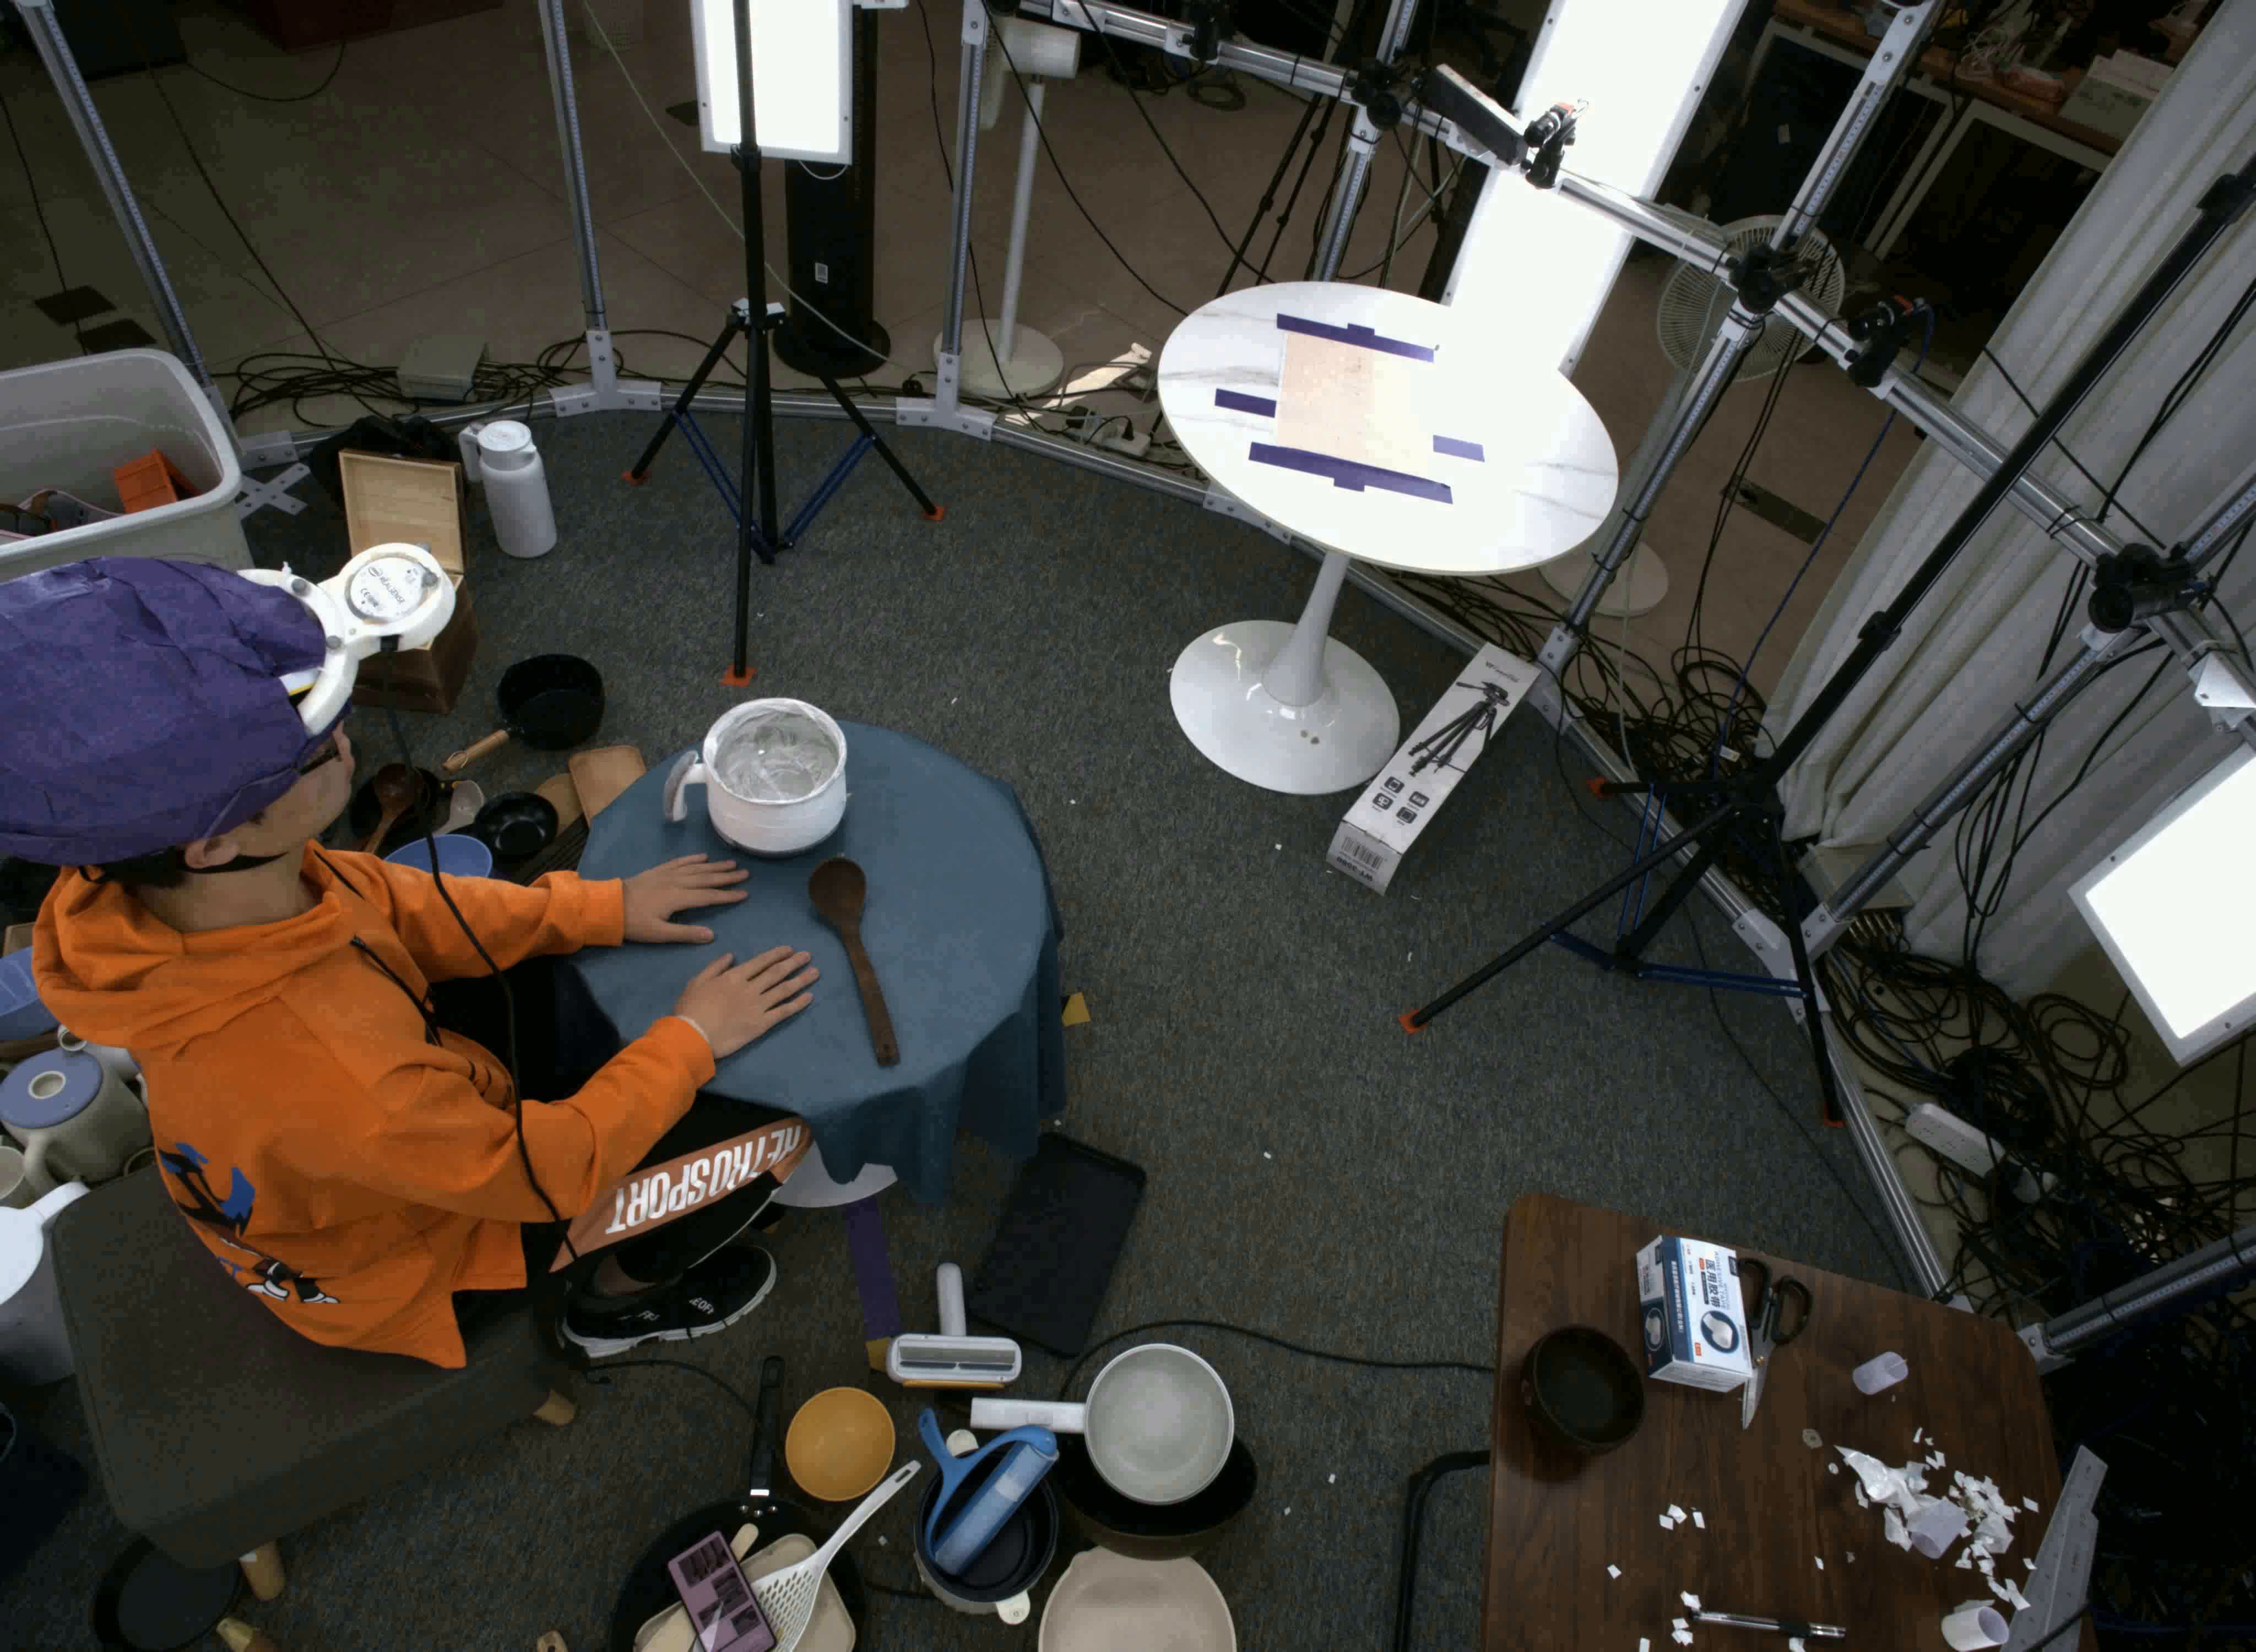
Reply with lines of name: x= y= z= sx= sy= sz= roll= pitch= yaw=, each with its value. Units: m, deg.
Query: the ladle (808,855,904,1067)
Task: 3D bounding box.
ladle: x=-0.324 y=0.156 z=1.578 sx=0.076 sy=0.073 sz=0.267 roll=-15 pitch=58 yaw=-19

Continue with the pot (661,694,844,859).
pot: x=-0.480 y=-0.056 z=1.652 sx=0.235 sy=0.139 sz=0.174 roll=-7 pitch=54 yaw=-19
